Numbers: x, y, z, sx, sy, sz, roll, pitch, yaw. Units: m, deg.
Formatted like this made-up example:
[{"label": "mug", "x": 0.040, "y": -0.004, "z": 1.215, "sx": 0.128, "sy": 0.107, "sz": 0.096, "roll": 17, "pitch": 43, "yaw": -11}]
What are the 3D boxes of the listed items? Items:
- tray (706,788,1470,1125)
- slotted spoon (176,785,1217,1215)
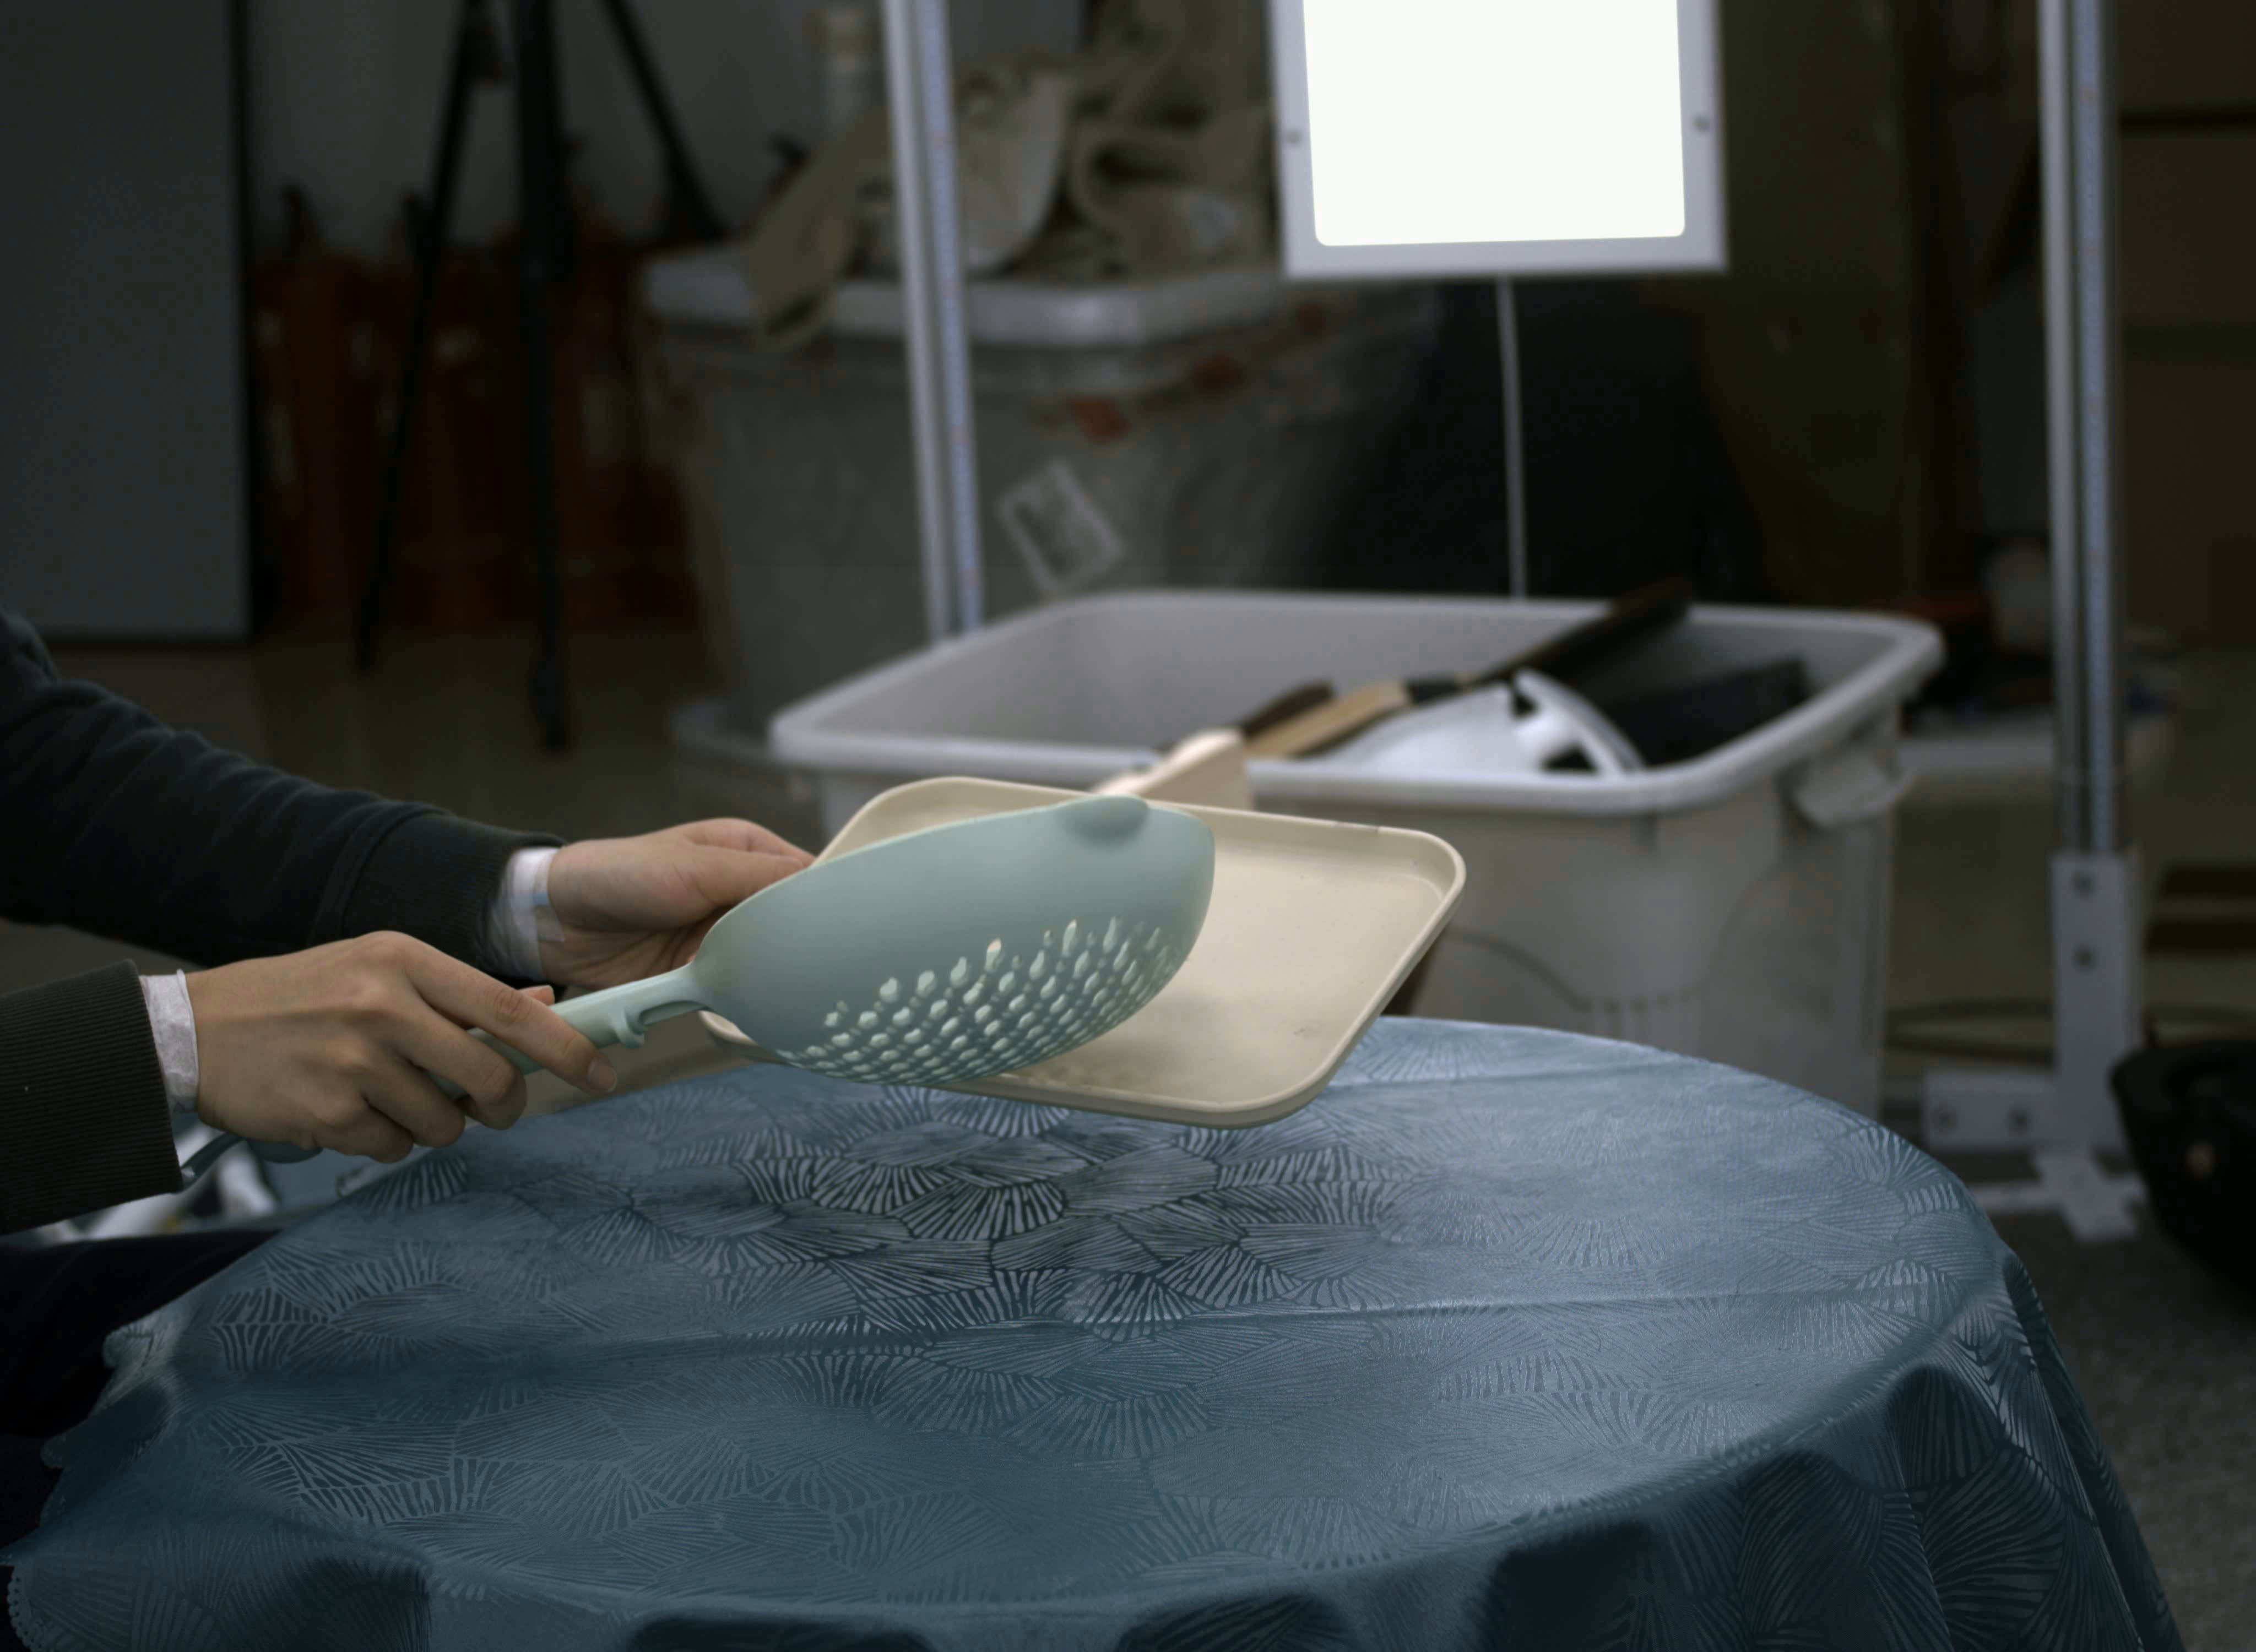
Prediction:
[{"label": "tray", "x": -0.013, "y": 0.044, "z": 1.884, "sx": 0.244, "sy": 0.017, "sz": 0.168, "roll": 6, "pitch": 35, "yaw": 29}, {"label": "slotted spoon", "x": -0.143, "y": 0.062, "z": 1.793, "sx": 0.361, "sy": 0.075, "sz": 0.168, "roll": -10, "pitch": -17, "yaw": 11}]
